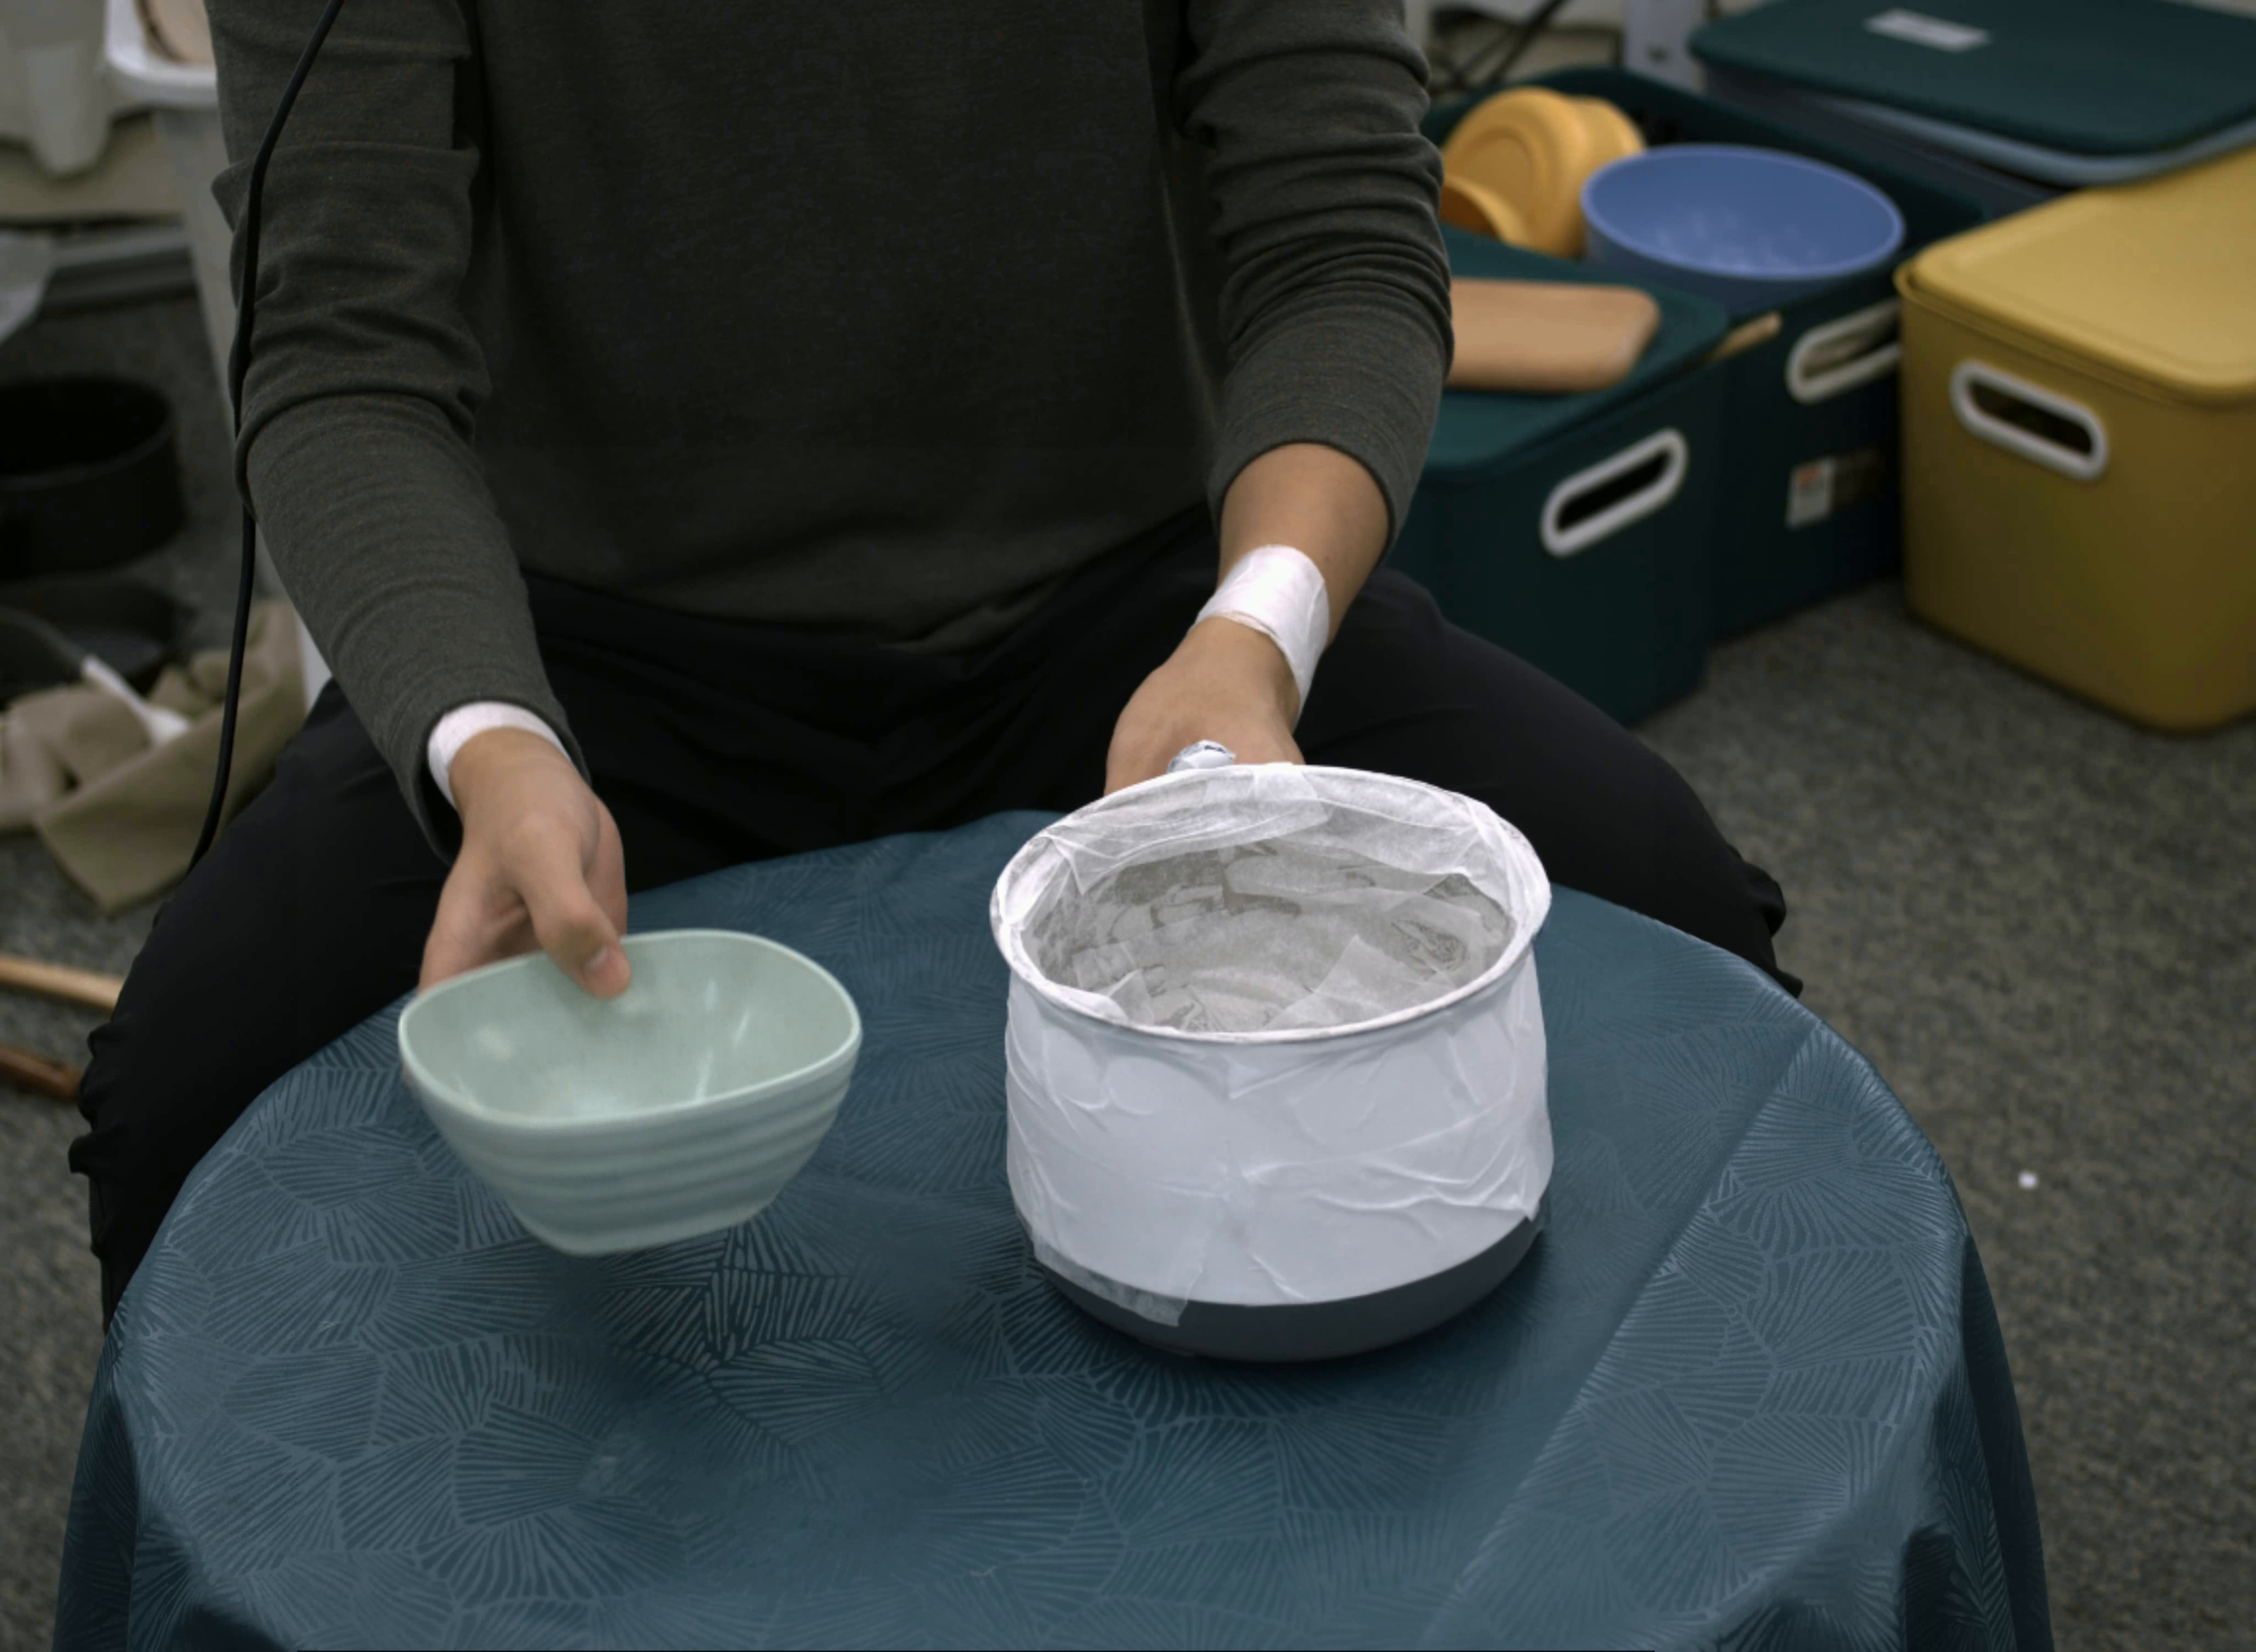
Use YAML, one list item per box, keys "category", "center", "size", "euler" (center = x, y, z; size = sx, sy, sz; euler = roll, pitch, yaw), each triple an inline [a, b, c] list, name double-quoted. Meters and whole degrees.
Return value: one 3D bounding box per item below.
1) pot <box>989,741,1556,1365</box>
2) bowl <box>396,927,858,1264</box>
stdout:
- category: "pot"
  center: [0.042, 0.066, 1.820]
  size: [0.178, 0.135, 0.236]
  euler: [-8, 27, -9]
- category: "bowl"
  center: [-0.154, 0.089, 1.753]
  size: [0.151, 0.058, 0.153]
  euler: [-3, 23, 2]
